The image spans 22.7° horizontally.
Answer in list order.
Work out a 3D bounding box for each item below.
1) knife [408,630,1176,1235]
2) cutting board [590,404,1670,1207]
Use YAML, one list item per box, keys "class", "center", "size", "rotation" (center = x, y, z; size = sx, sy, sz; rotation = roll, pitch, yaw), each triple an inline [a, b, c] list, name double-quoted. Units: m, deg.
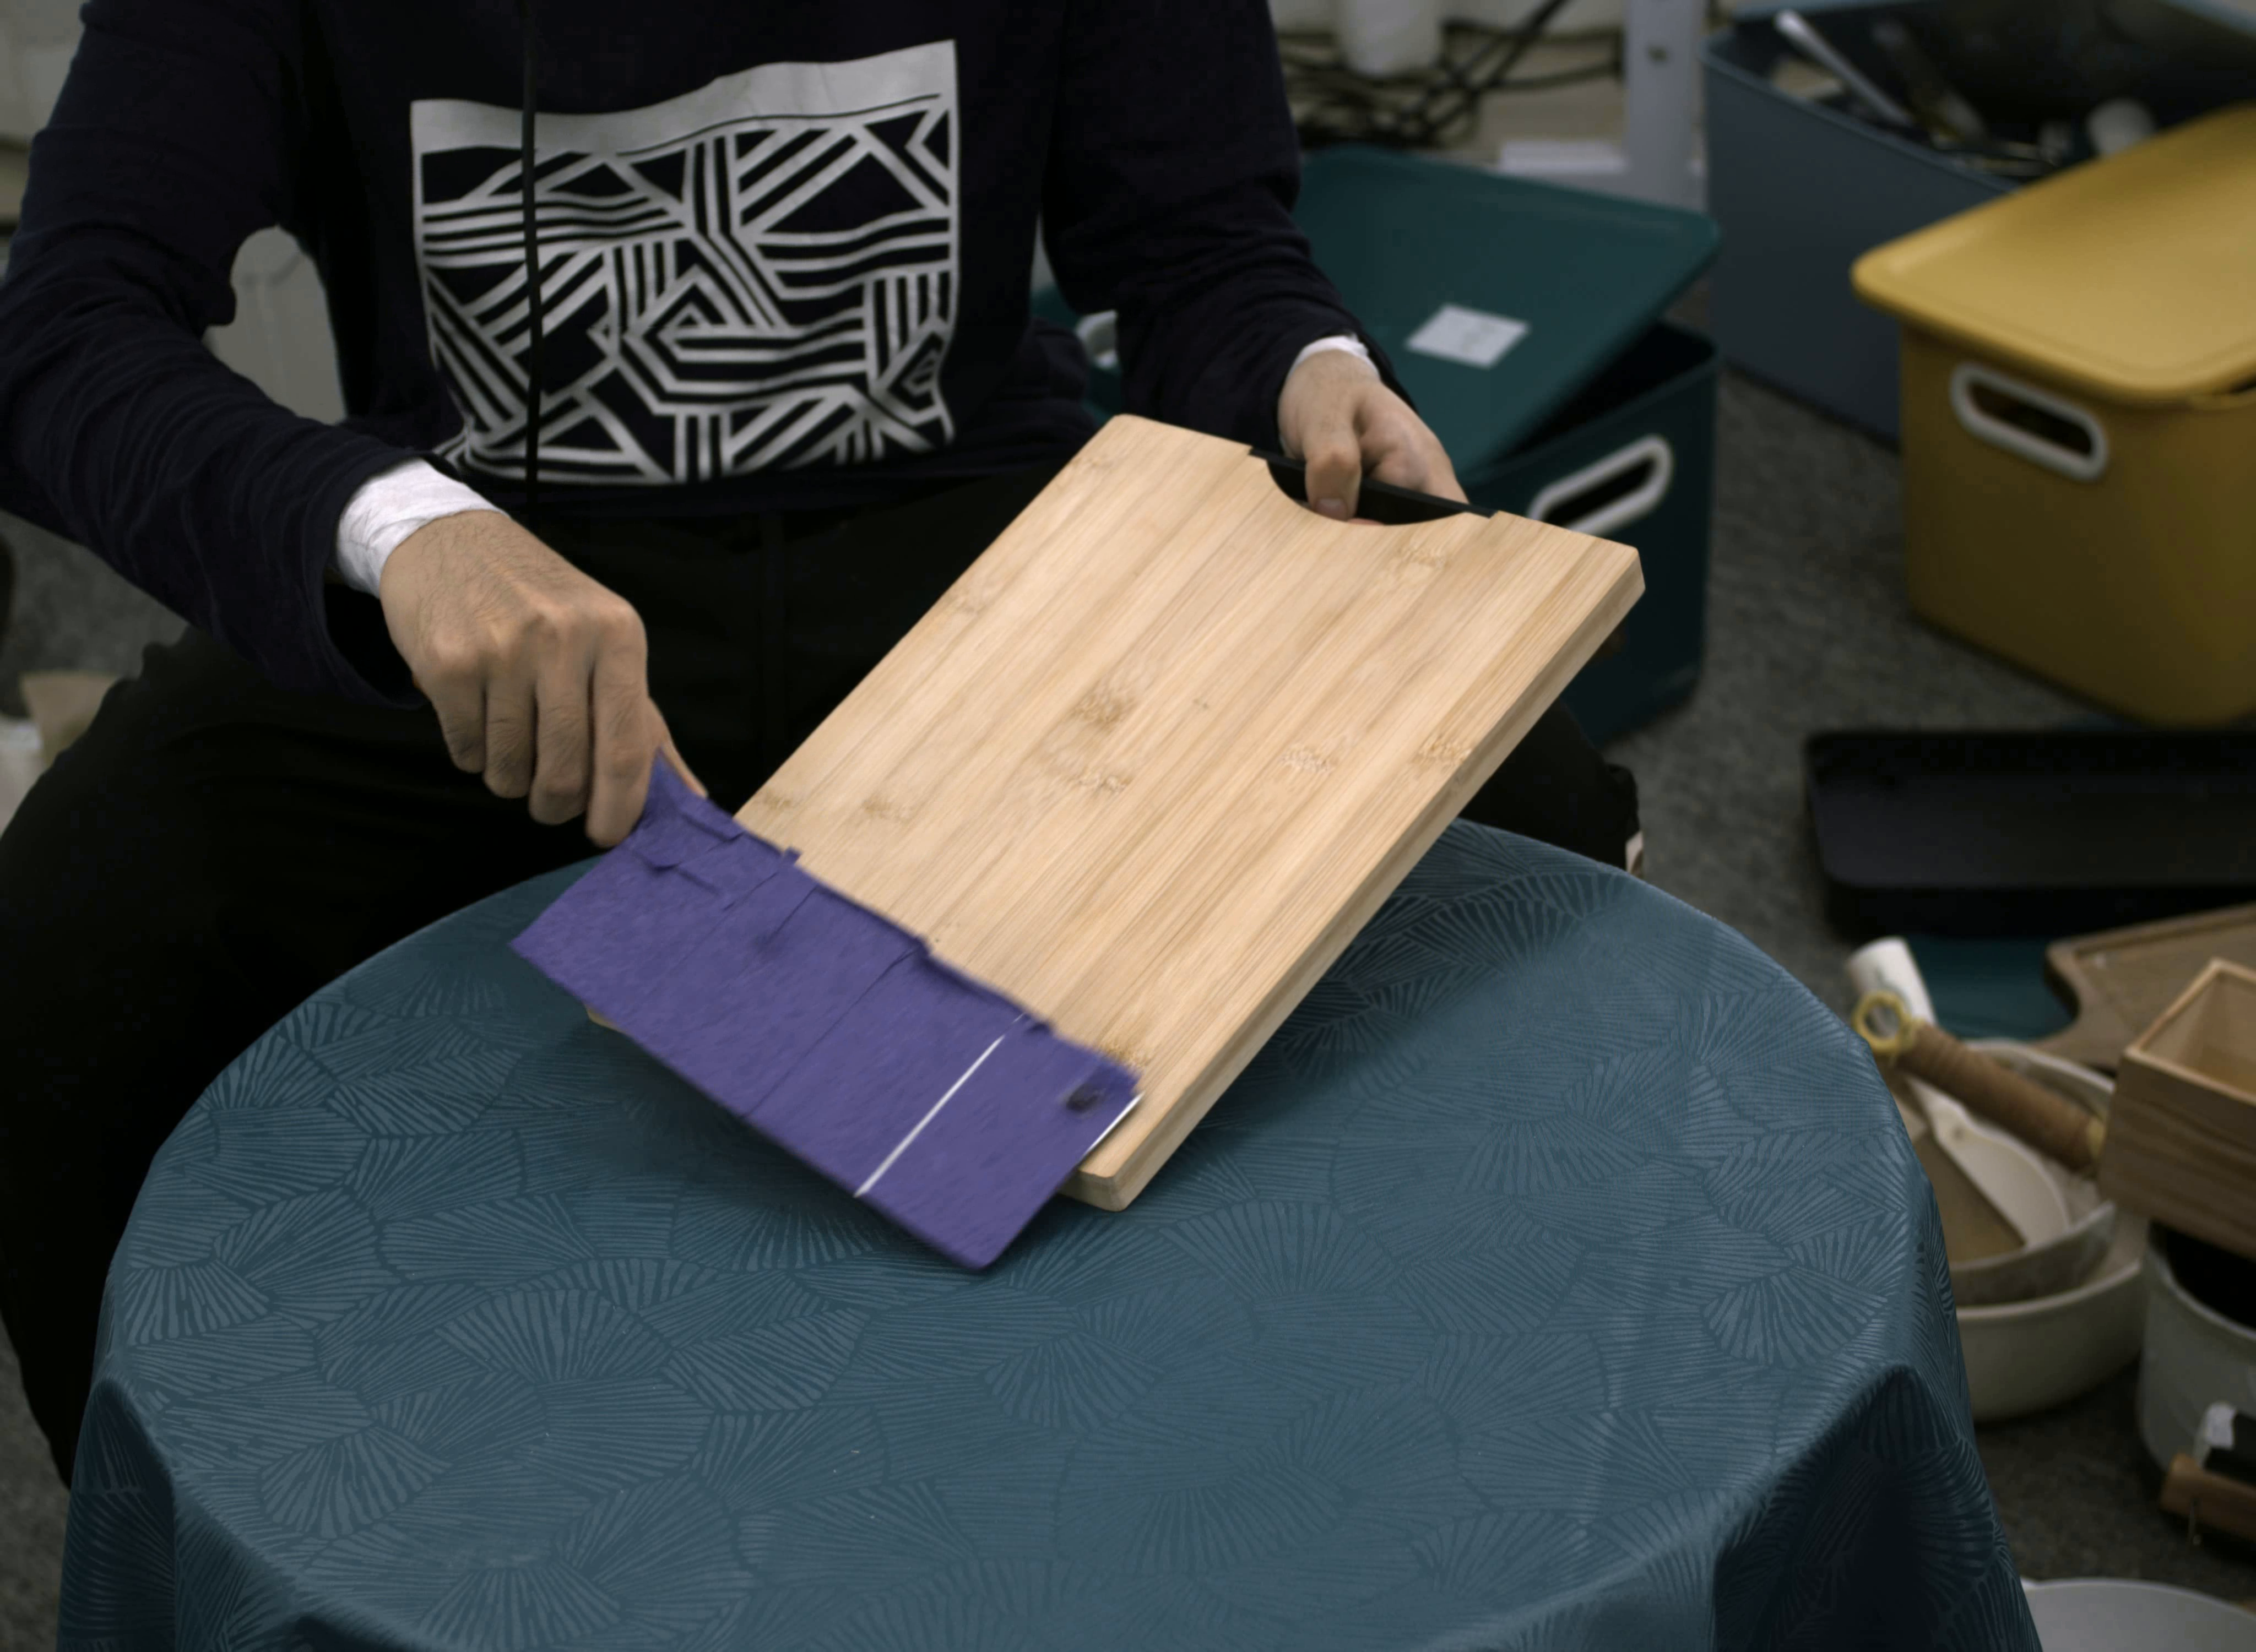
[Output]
- class: "knife"
  center: [-0.137, 0.034, 1.895]
  size: [0.315, 0.031, 0.105]
  rotation: [30, 56, 23]
- class: "cutting board"
  center: [0.001, -0.017, 2.006]
  size: [0.249, 0.023, 0.354]
  rotation: [16, 49, 33]
